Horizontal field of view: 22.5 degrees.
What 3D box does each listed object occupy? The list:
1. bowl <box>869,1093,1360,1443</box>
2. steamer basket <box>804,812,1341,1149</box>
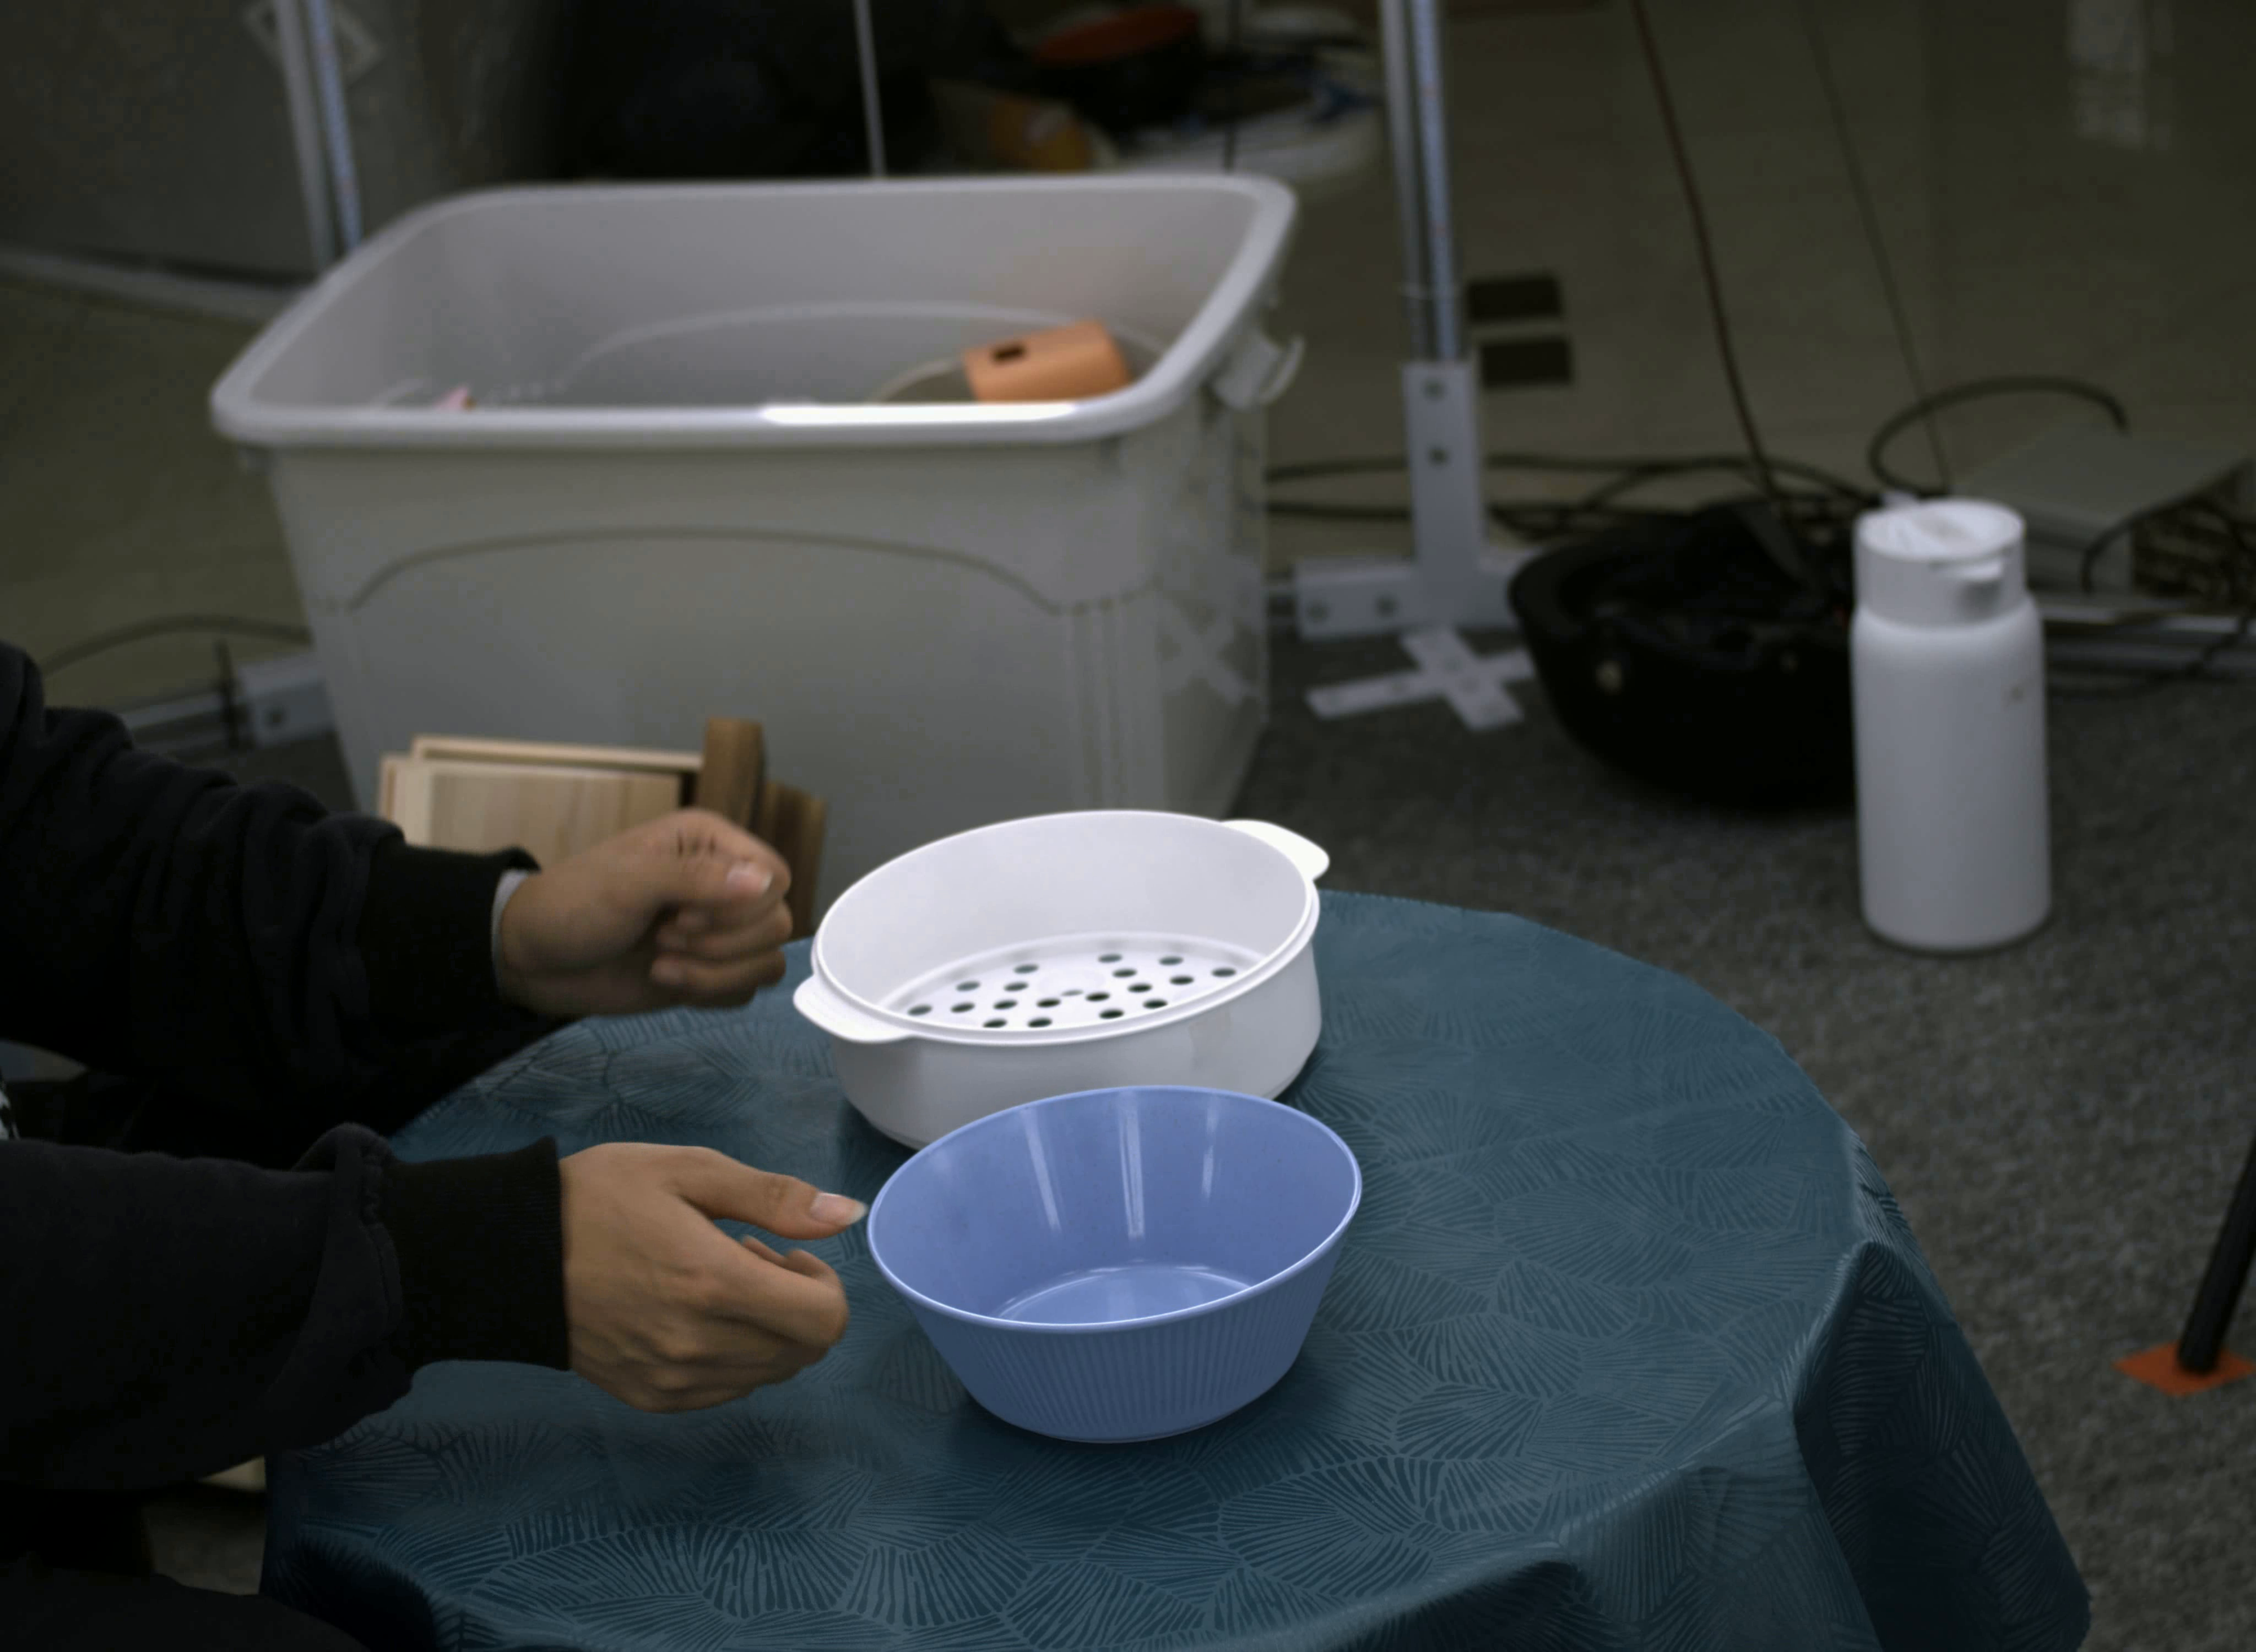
[{"bbox_3d":[-0.002,0.163,2.017,0.176,0.071,0.173,-5,24,2],"label":"bowl"},{"bbox_3d":[-0.018,0.063,2.237,0.229,0.070,0.200,-19,28,-29],"label":"steamer basket"}]
